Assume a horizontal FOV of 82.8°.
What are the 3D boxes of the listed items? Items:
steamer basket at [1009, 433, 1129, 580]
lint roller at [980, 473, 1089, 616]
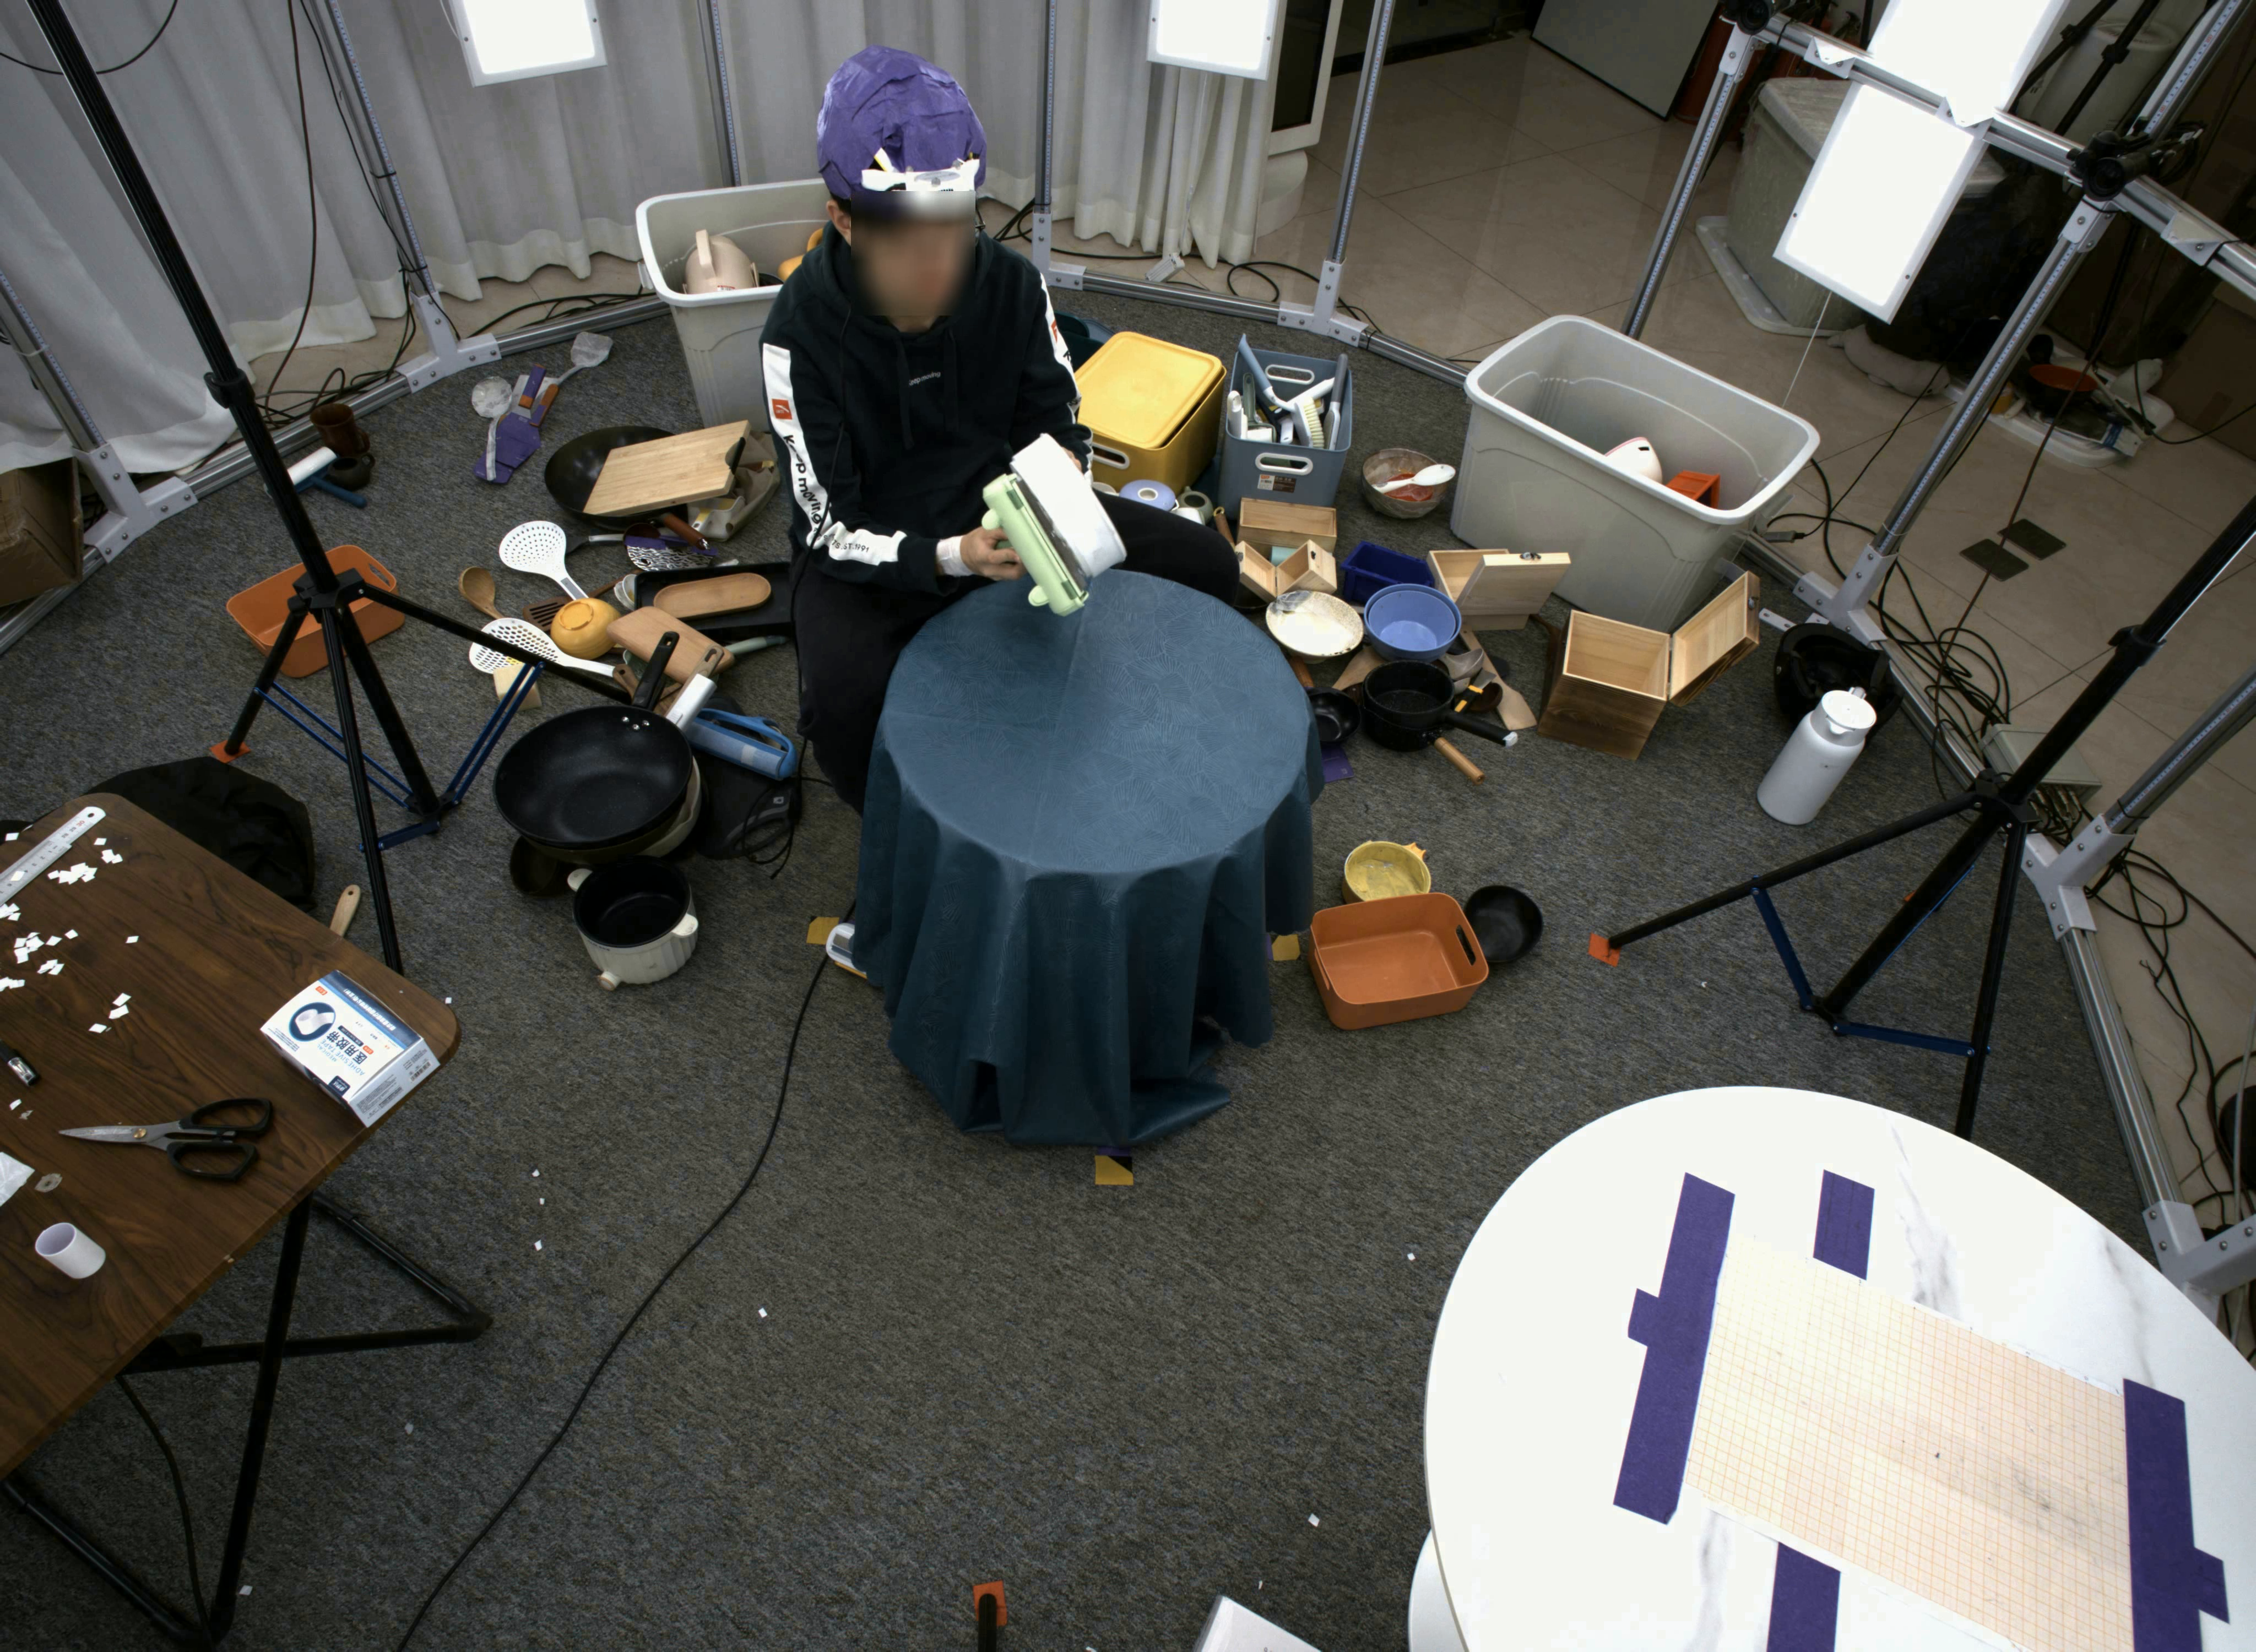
[{"bbox_3d":[-0.081,-0.426,1.737,0.069,0.198,0.235,-35,28,2],"label":"steamer basket"},{"bbox_3d":[-0.157,-0.365,1.738,0.083,0.196,0.184,-43,21,-27],"label":"lint roller"}]
